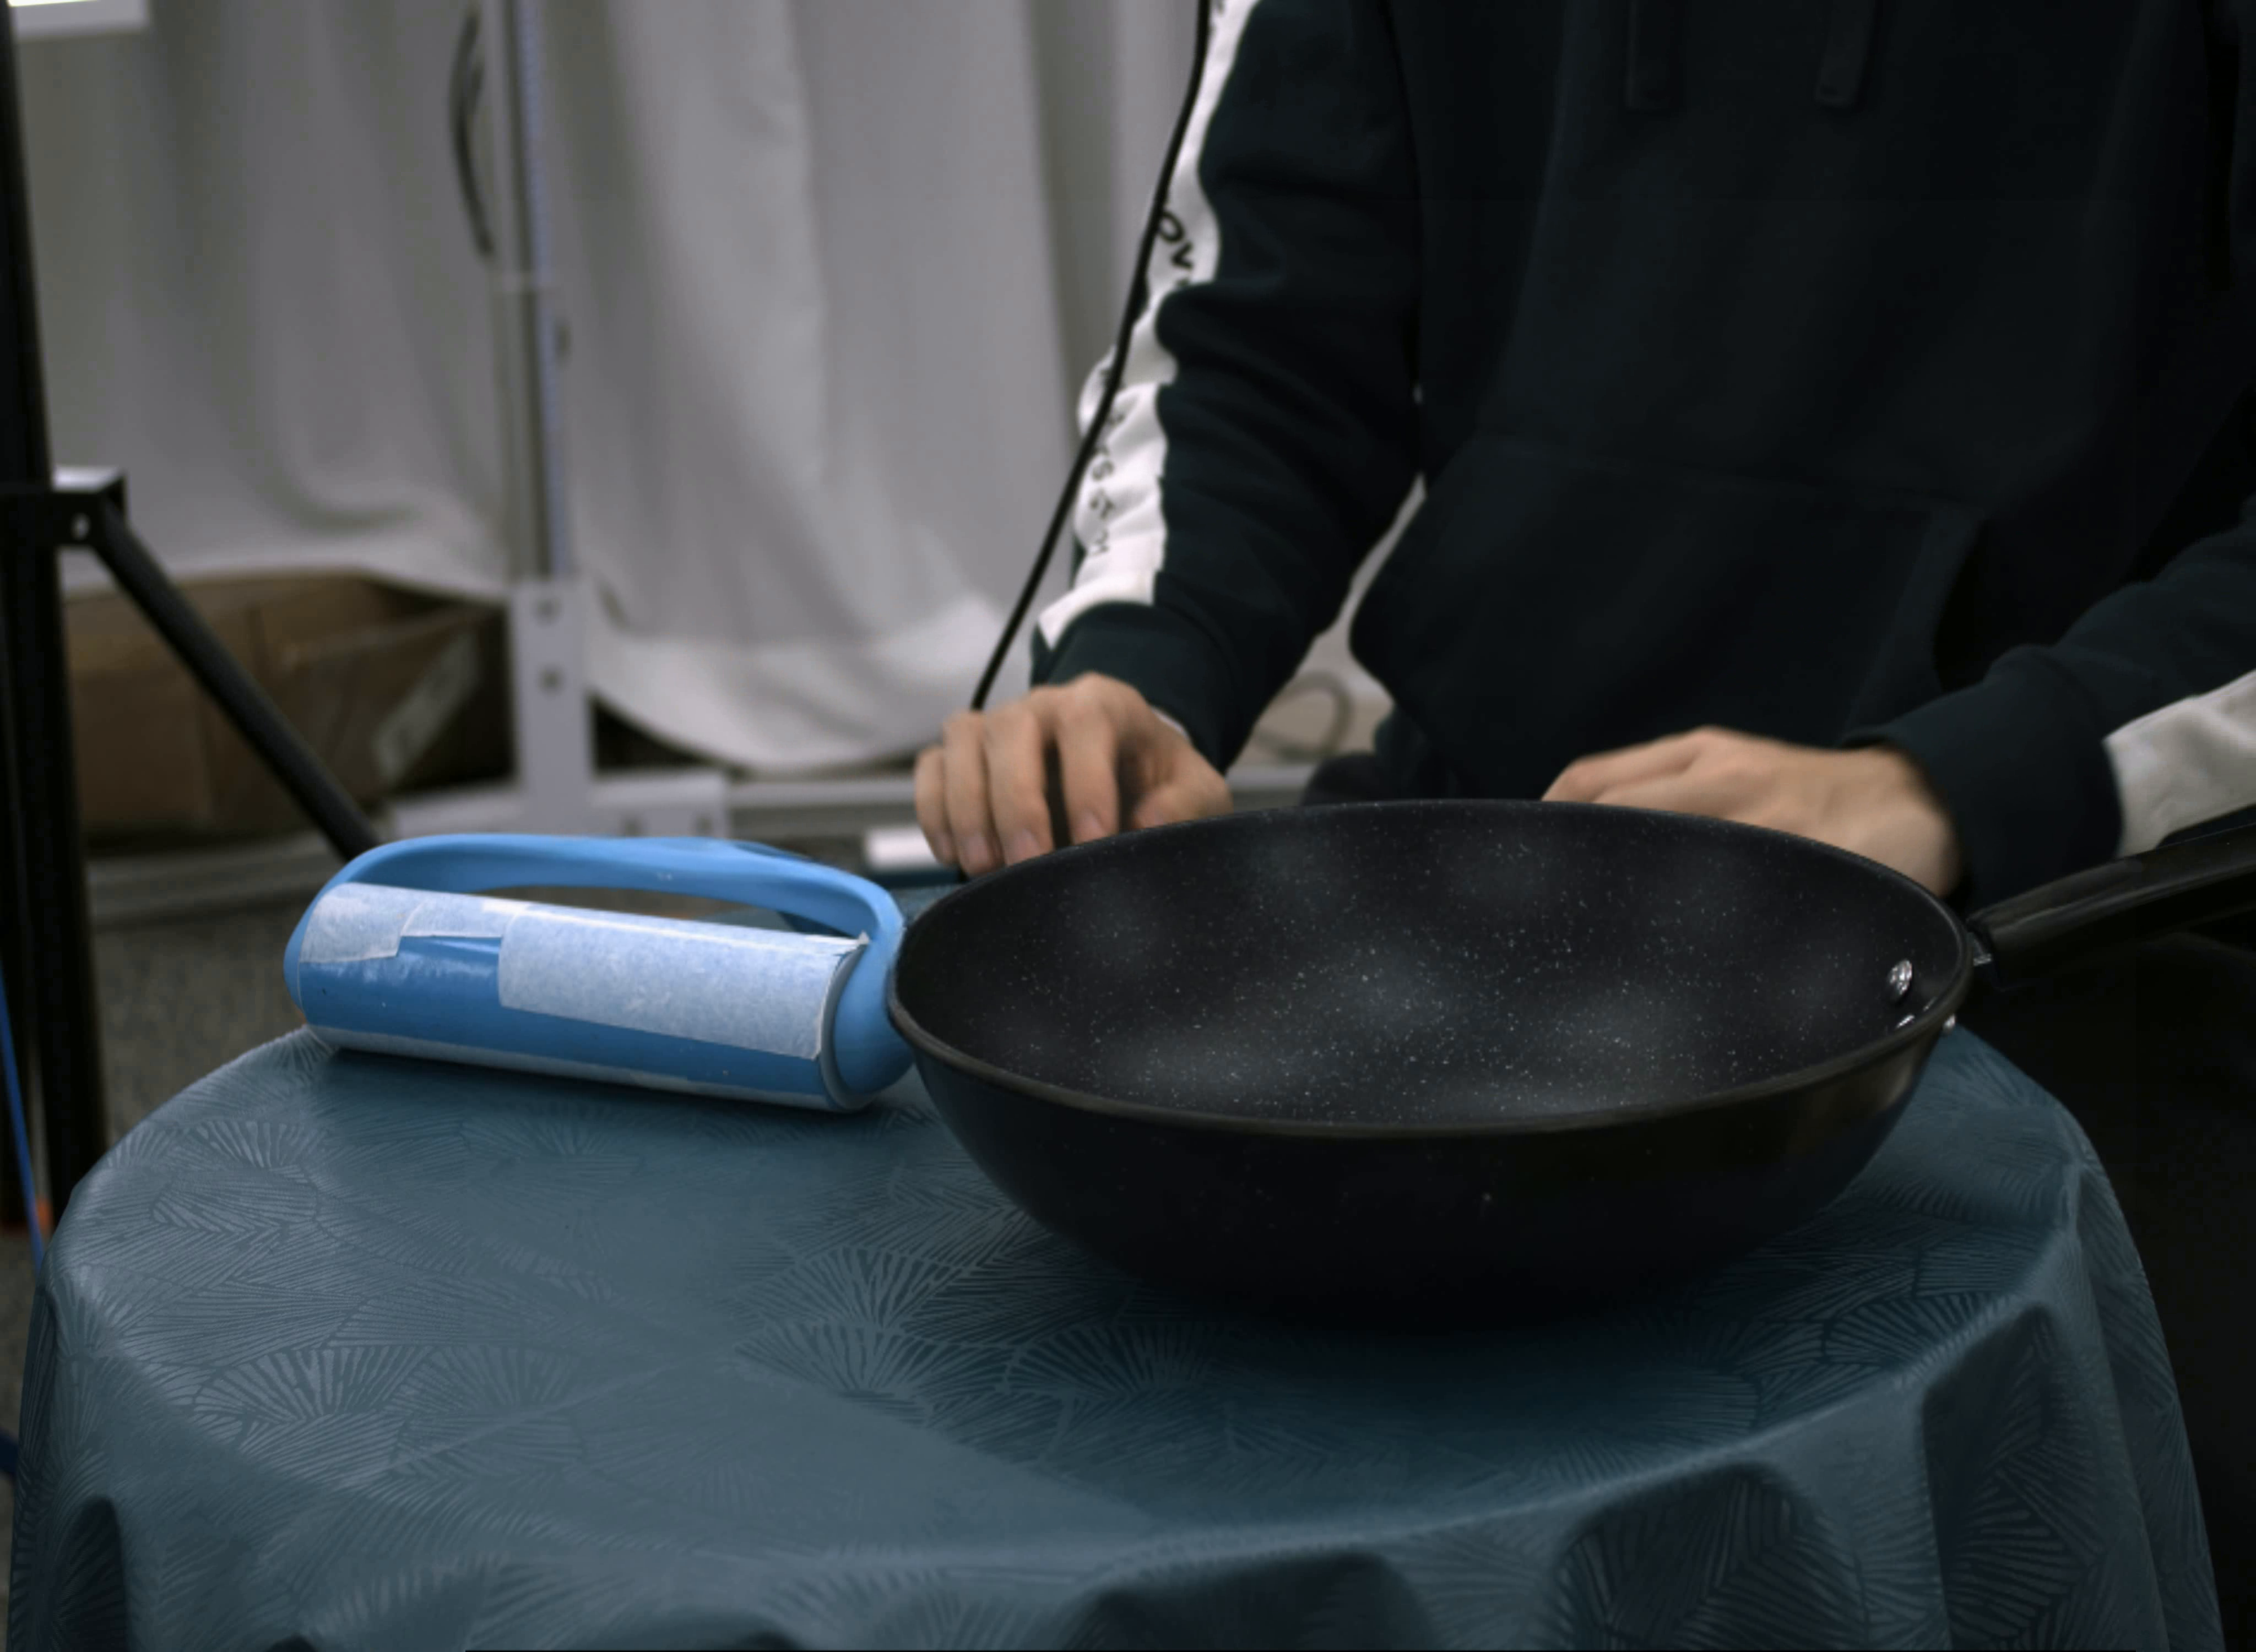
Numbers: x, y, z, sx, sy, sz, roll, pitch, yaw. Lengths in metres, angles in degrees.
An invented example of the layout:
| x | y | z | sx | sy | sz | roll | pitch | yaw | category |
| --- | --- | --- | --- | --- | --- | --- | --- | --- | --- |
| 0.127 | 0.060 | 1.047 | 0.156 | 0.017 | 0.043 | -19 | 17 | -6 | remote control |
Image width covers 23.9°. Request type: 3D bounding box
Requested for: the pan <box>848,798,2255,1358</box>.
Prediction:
| x | y | z | sx | sy | sz | roll | pitch | yaw | category |
| --- | --- | --- | --- | --- | --- | --- | --- | --- | --- |
| 0.159 | 0.061 | 1.502 | 0.473 | 0.111 | 0.313 | -4 | 18 | -3 | pan |

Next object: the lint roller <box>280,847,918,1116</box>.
| x | y | z | sx | sy | sz | roll | pitch | yaw | category |
| --- | --- | --- | --- | --- | --- | --- | --- | --- | --- |
| -0.144 | 0.038 | 1.729 | 0.232 | 0.068 | 0.178 | 2 | 17 | 25 | lint roller |
